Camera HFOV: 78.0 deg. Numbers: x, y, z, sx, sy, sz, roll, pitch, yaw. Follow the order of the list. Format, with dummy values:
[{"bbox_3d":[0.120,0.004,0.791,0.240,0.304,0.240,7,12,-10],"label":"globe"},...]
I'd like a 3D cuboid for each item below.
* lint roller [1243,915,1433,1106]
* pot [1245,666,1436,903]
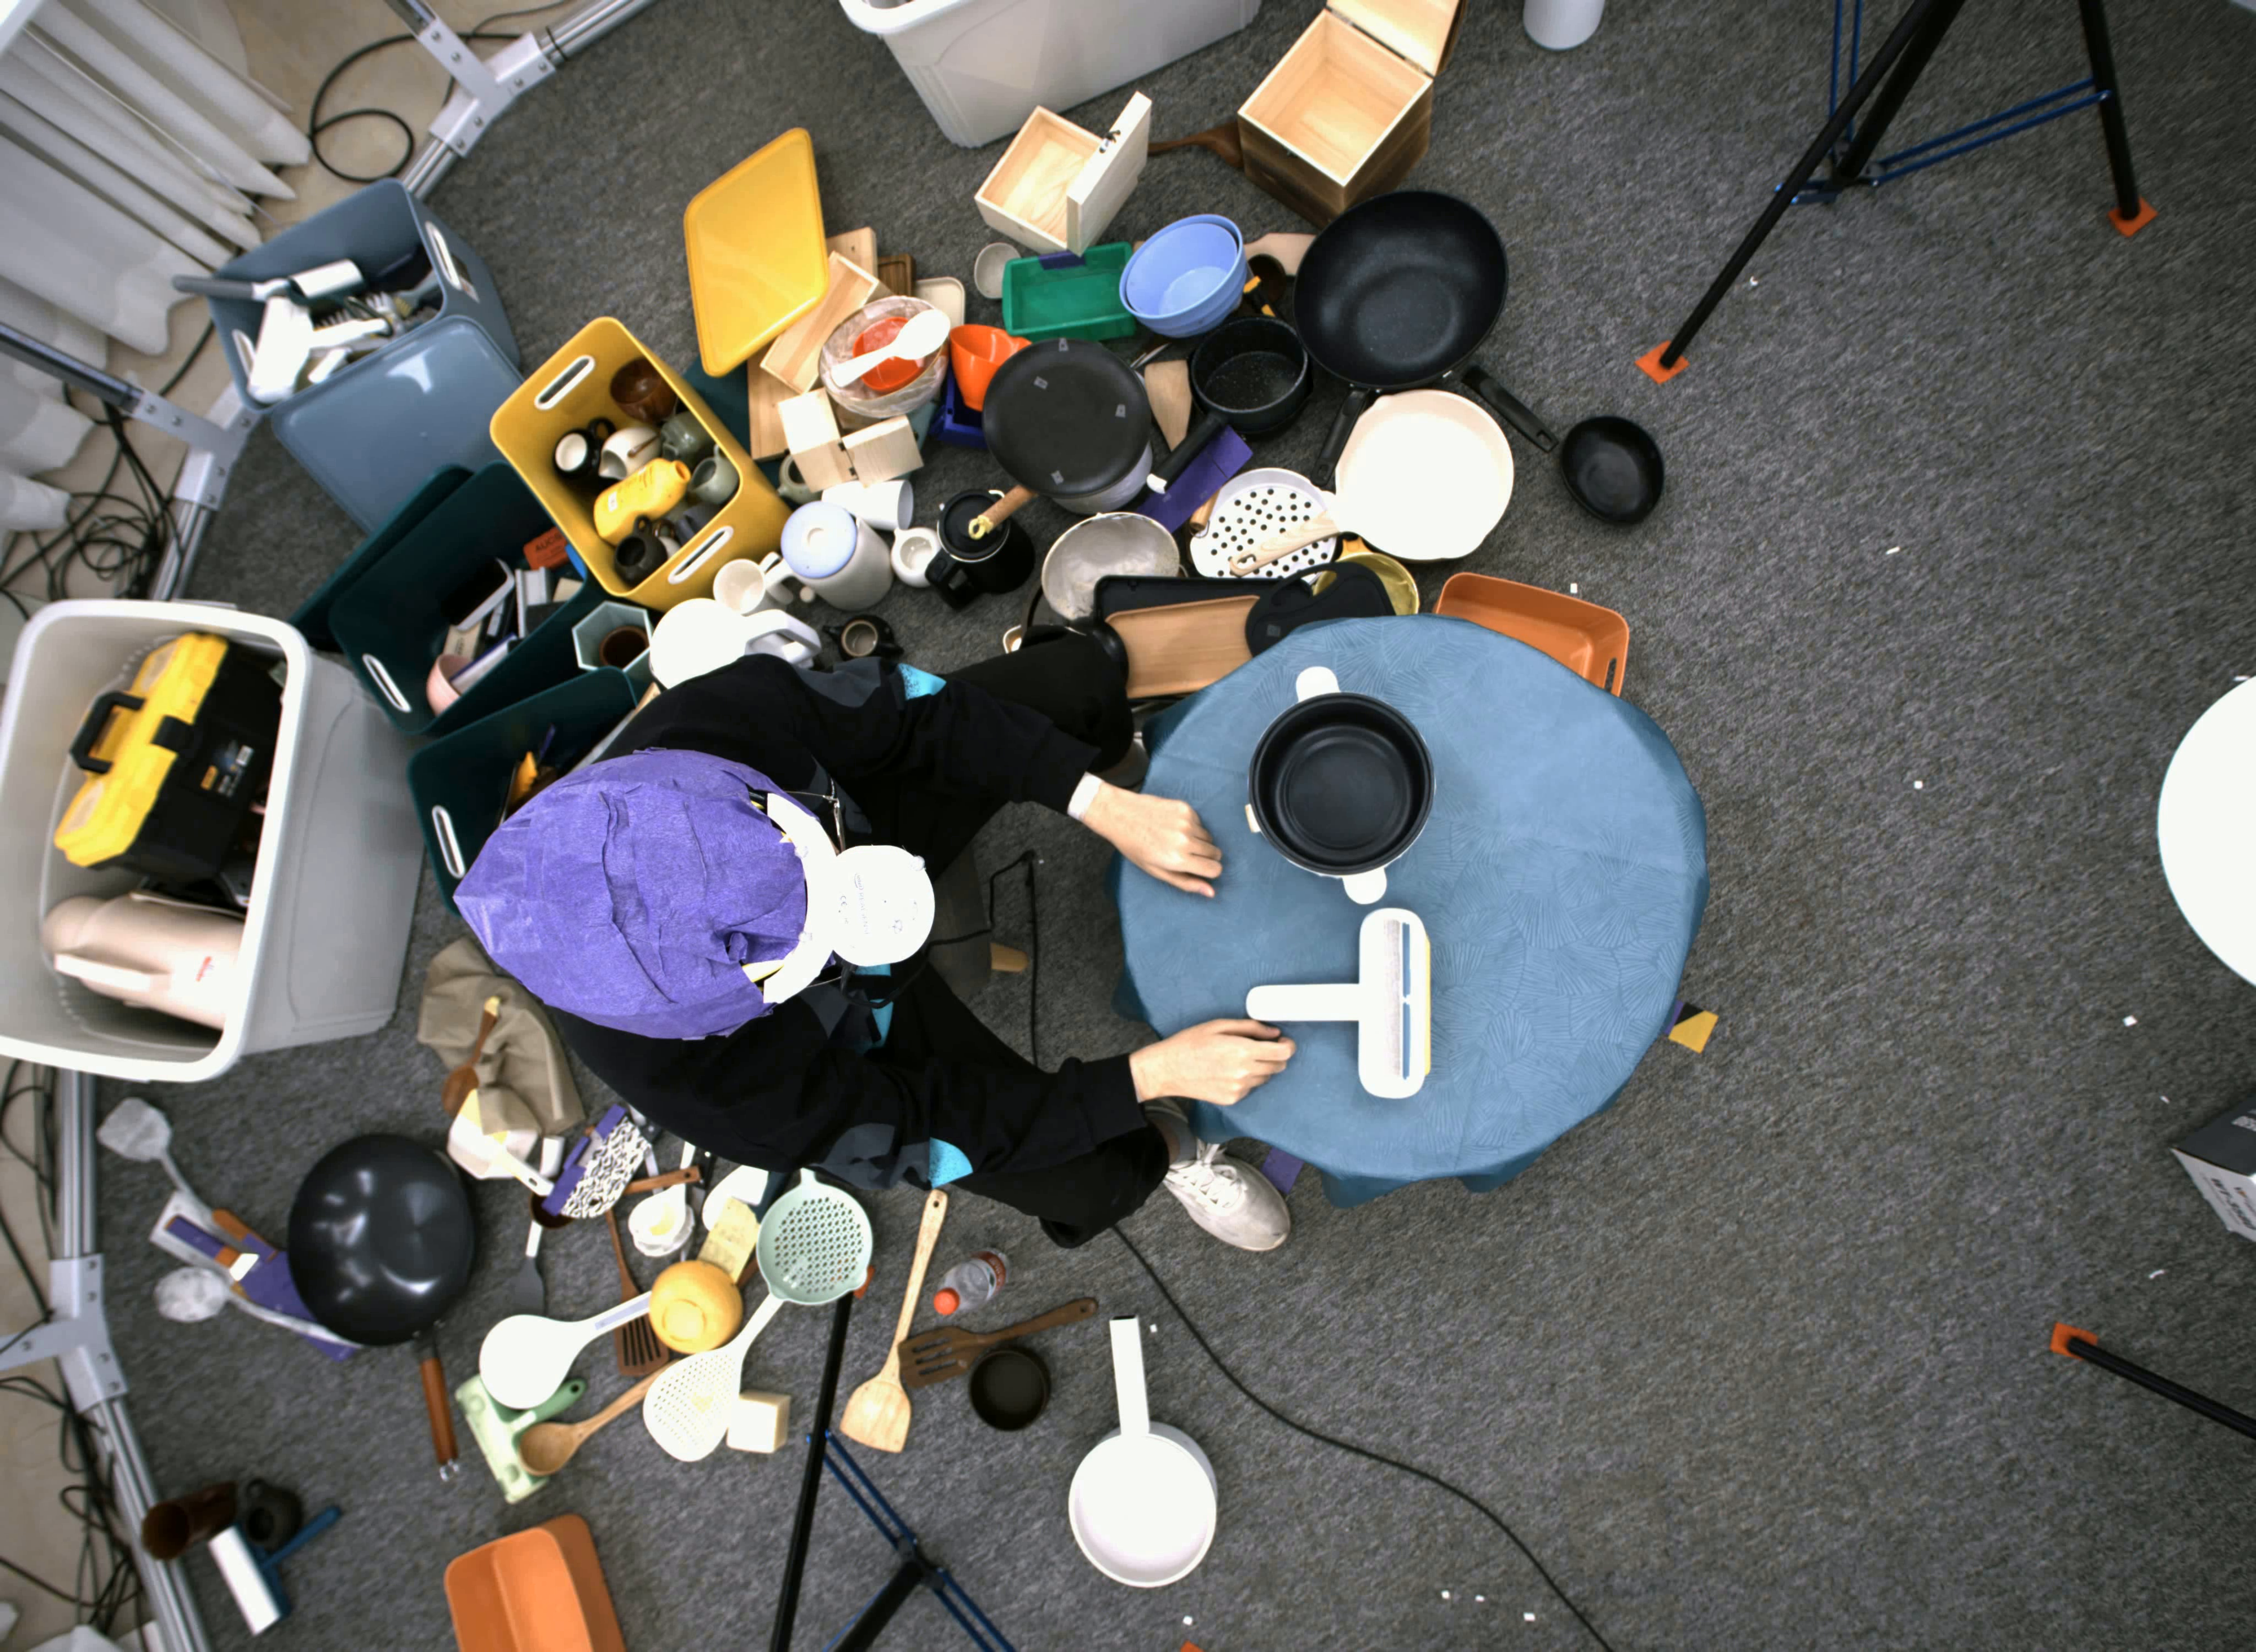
[{"bbox_3d":[0.212,0.183,1.426,0.193,0.074,0.191,4,82,12],"label":"lint roller"},{"bbox_3d":[0.212,-0.034,1.400,0.191,0.143,0.239,-14,83,6],"label":"pot"}]
